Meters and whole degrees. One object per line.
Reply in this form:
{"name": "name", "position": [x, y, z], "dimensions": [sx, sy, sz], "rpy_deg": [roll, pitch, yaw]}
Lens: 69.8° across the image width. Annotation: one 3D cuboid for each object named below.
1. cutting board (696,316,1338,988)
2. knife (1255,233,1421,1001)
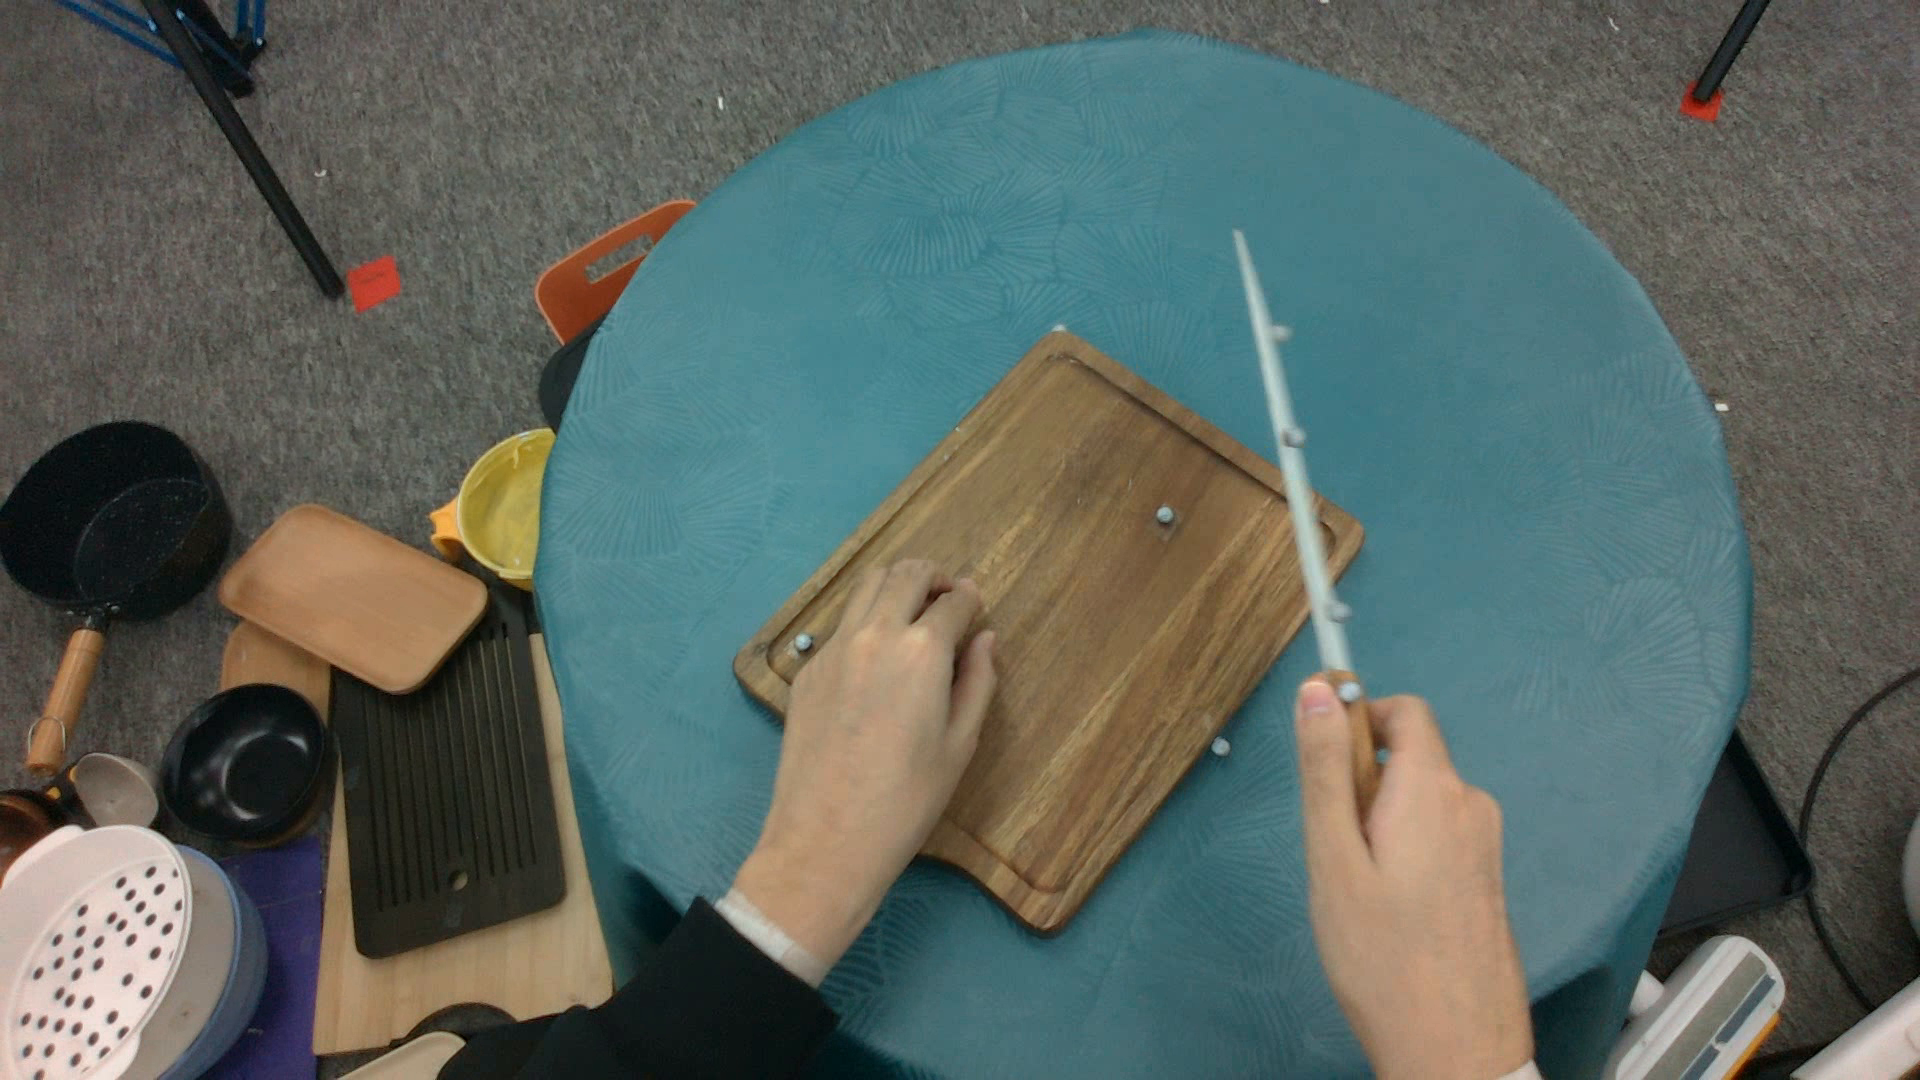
{"name": "cutting board", "position": [0.003, 0.057, 0.641], "dimensions": [0.201, 0.023, 0.353], "rpy_deg": [35, 69, 18]}
{"name": "knife", "position": [0.151, 0.024, 0.556], "dimensions": [0.021, 0.093, 0.306], "rpy_deg": [-13, 70, 23]}
